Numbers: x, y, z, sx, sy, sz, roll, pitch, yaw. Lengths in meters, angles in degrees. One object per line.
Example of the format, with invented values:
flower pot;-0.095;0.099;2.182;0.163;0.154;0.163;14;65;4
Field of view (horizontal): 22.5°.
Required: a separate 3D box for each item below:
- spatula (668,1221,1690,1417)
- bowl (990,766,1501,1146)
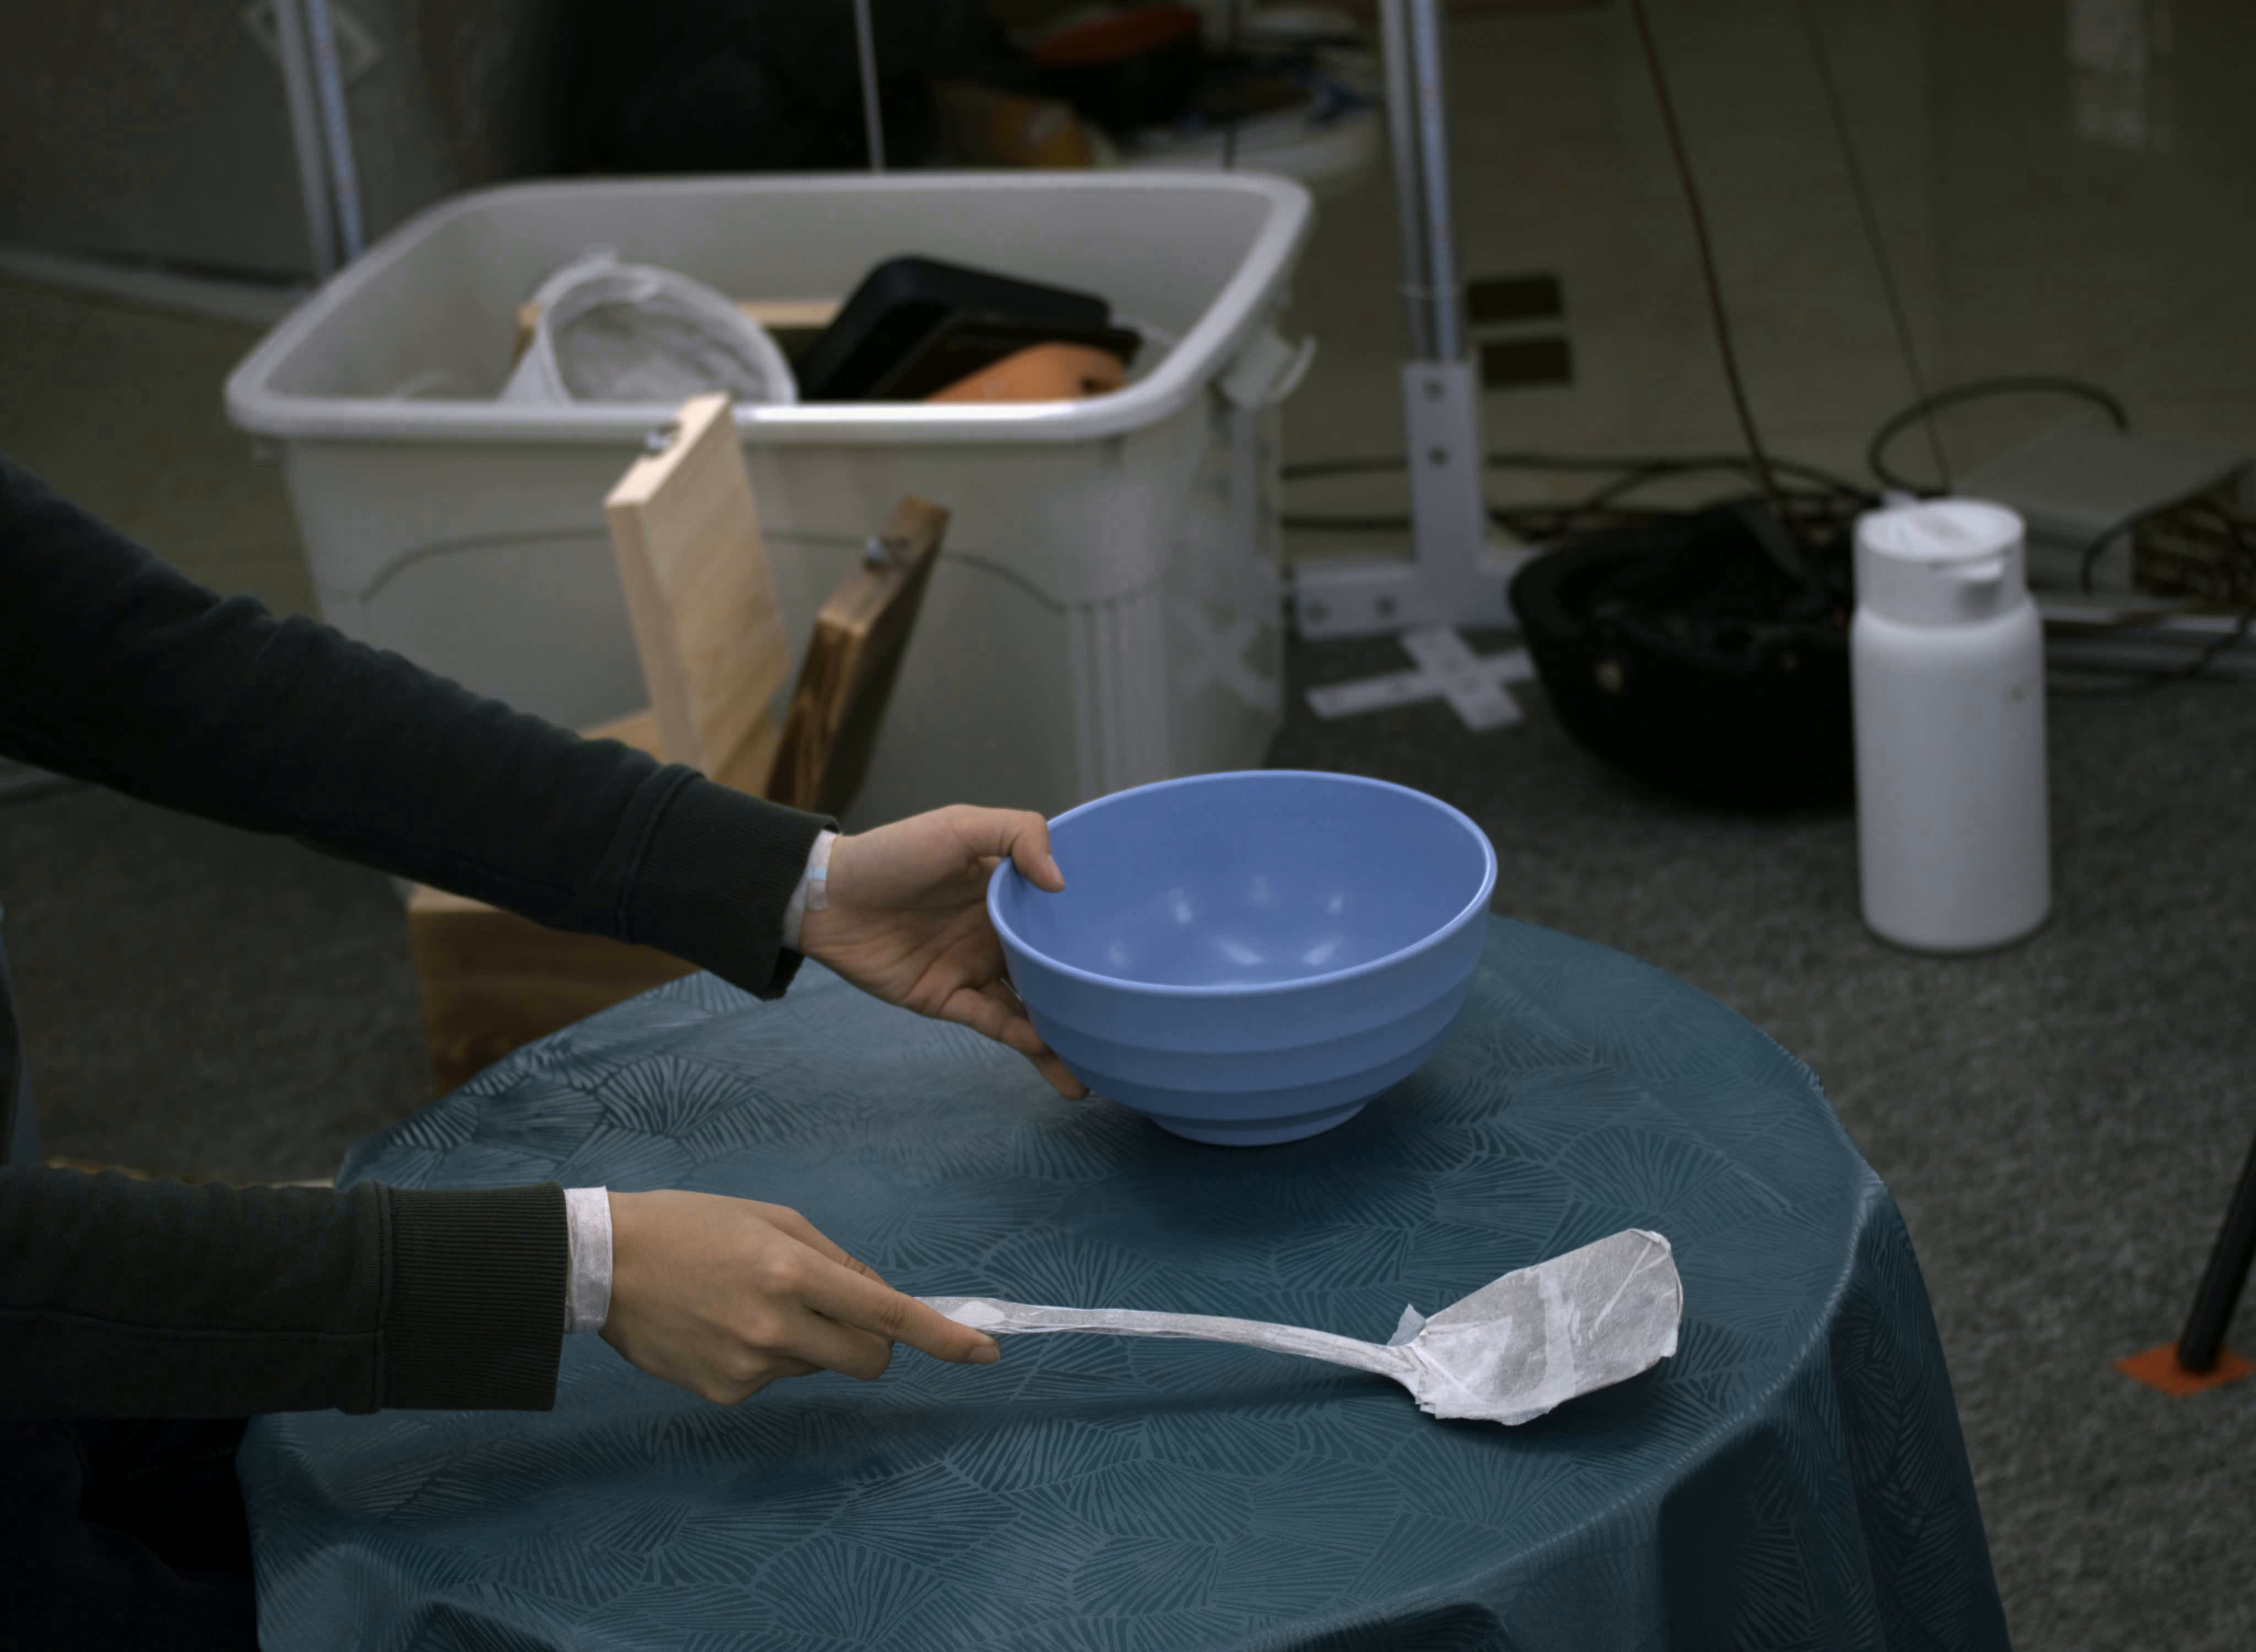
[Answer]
spatula;0.014;0.171;2.005;0.364;0.045;0.097;3;30;4
bowl;0.047;0.061;2.191;0.196;0.097;0.193;-3;26;1
